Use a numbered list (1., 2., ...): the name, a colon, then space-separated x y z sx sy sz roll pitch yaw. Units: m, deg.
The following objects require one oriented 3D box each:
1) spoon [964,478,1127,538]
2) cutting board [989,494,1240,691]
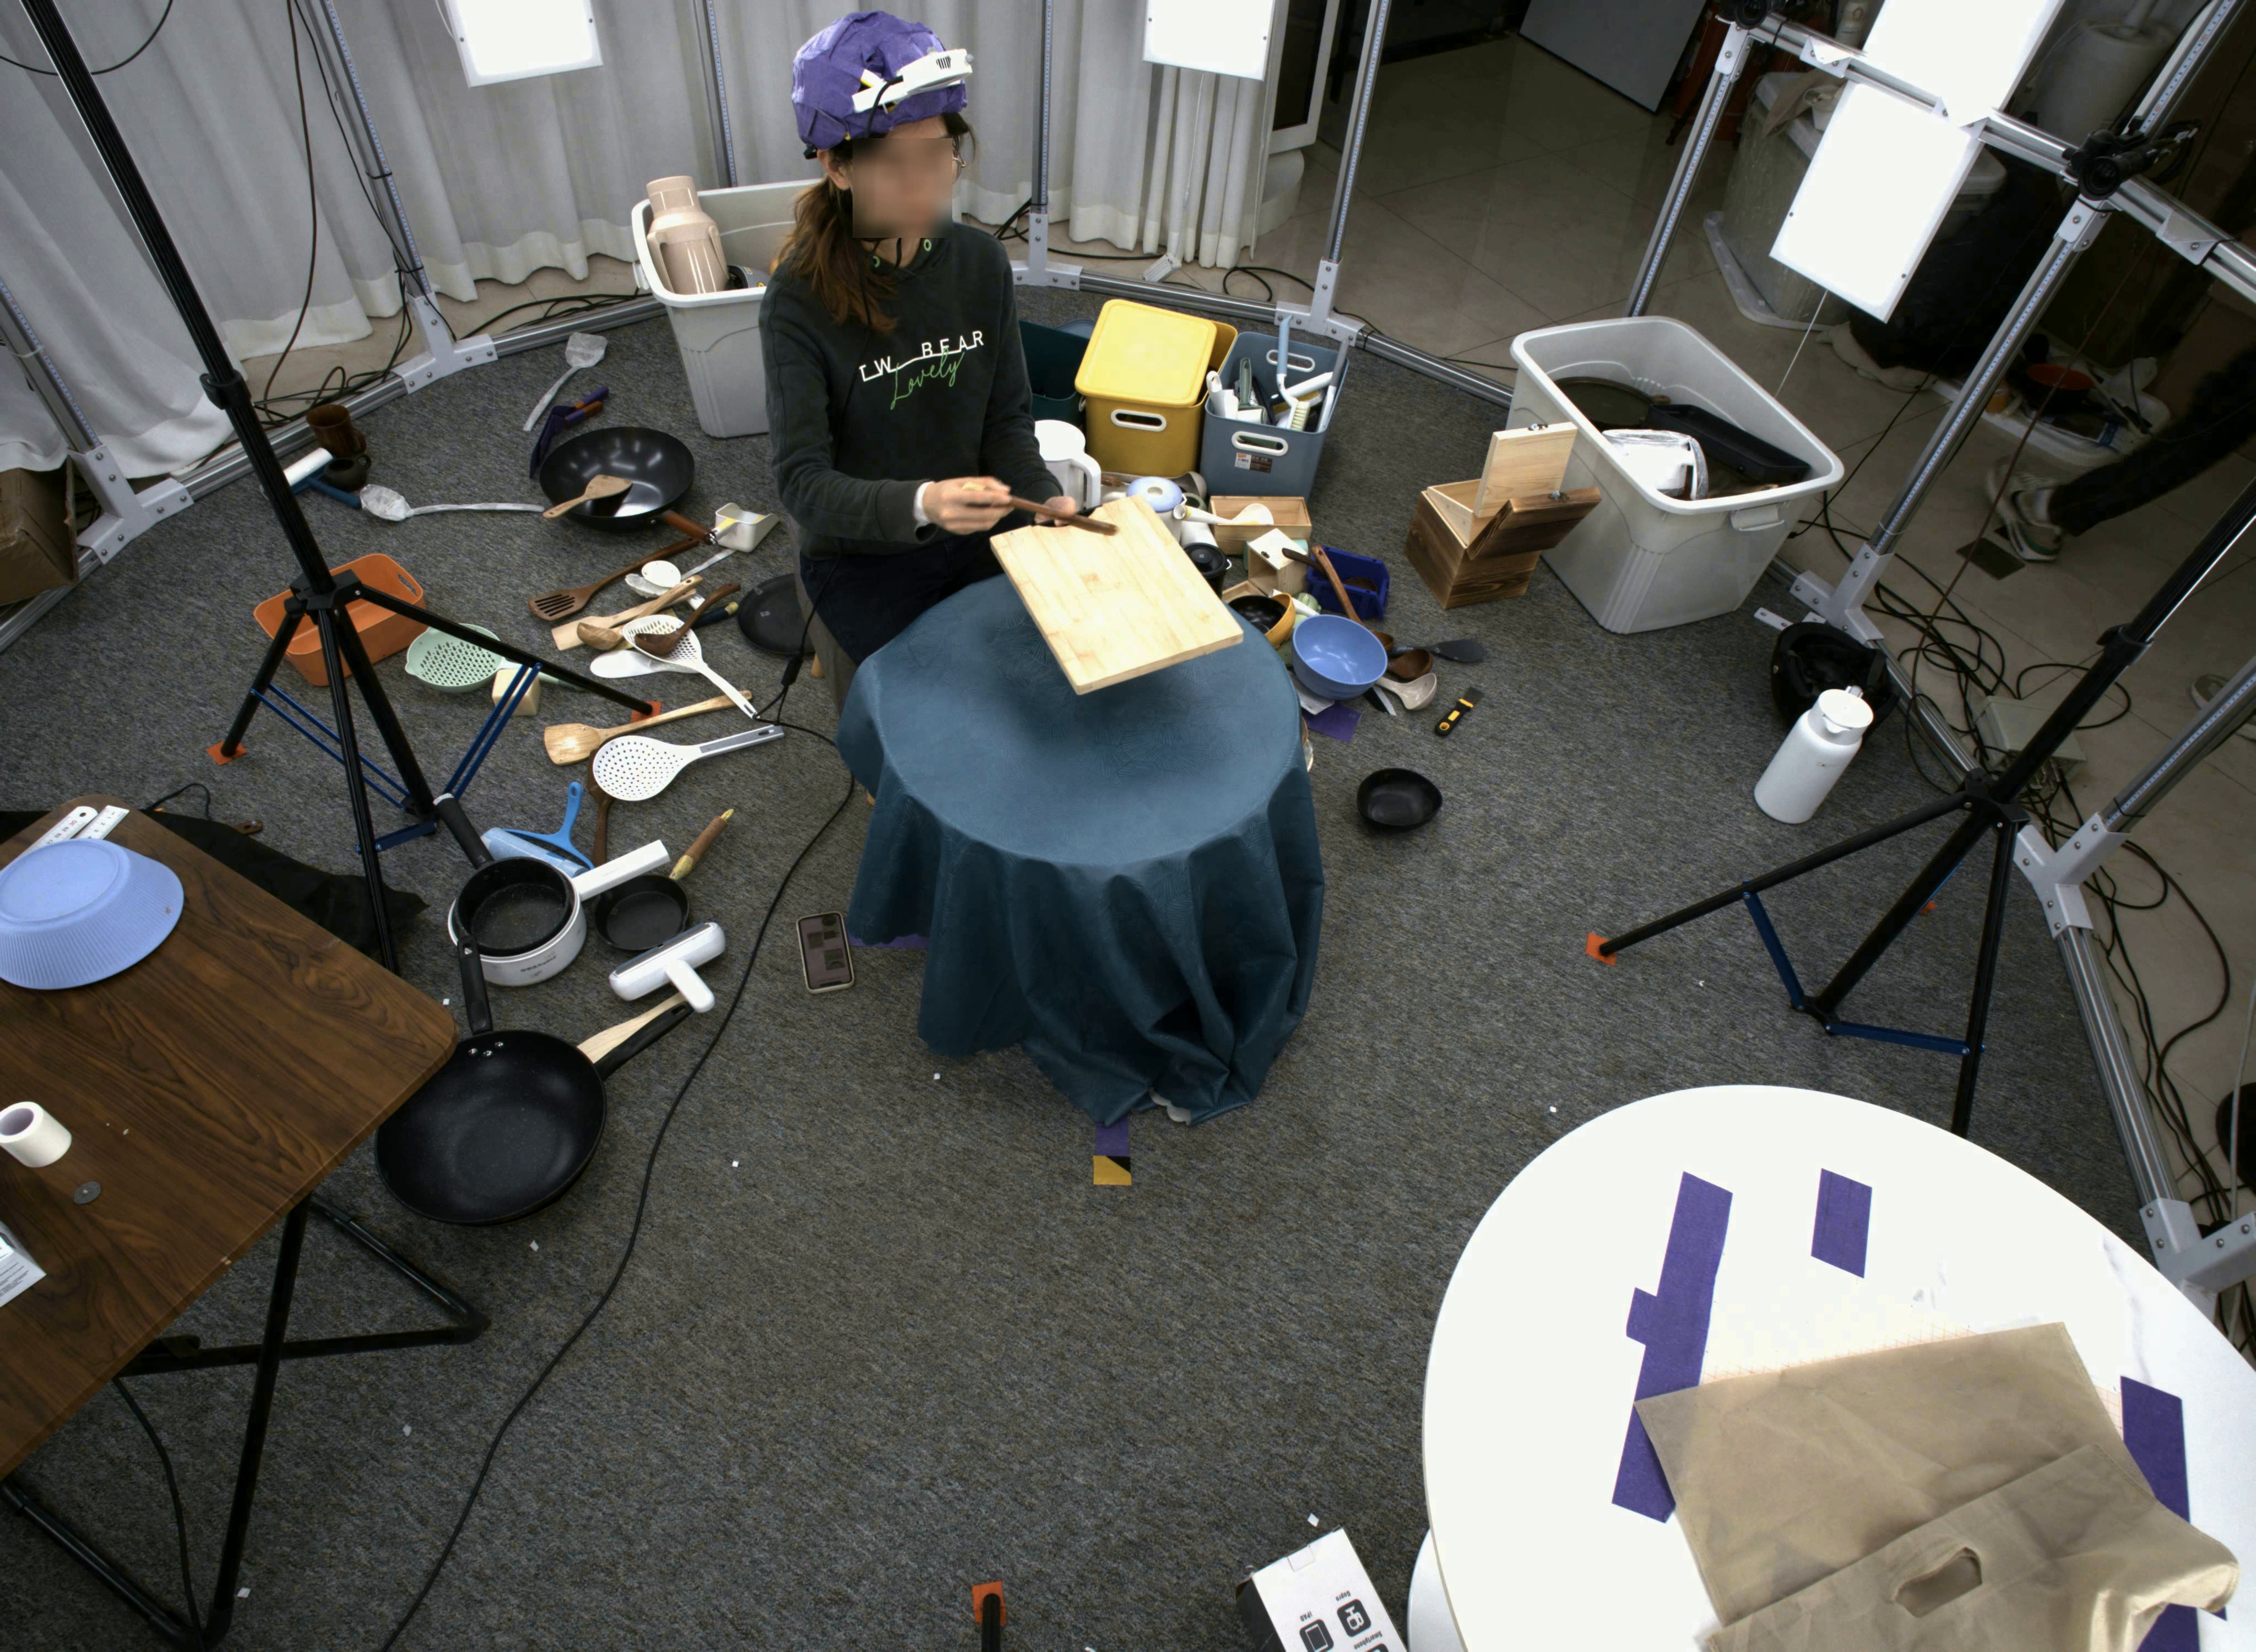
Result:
1. spoon: -0.102 -0.399 1.634 0.214 0.017 0.076 14 13 -19
2. cutting board: -0.026 -0.335 1.805 0.251 0.023 0.357 -19 50 -14
